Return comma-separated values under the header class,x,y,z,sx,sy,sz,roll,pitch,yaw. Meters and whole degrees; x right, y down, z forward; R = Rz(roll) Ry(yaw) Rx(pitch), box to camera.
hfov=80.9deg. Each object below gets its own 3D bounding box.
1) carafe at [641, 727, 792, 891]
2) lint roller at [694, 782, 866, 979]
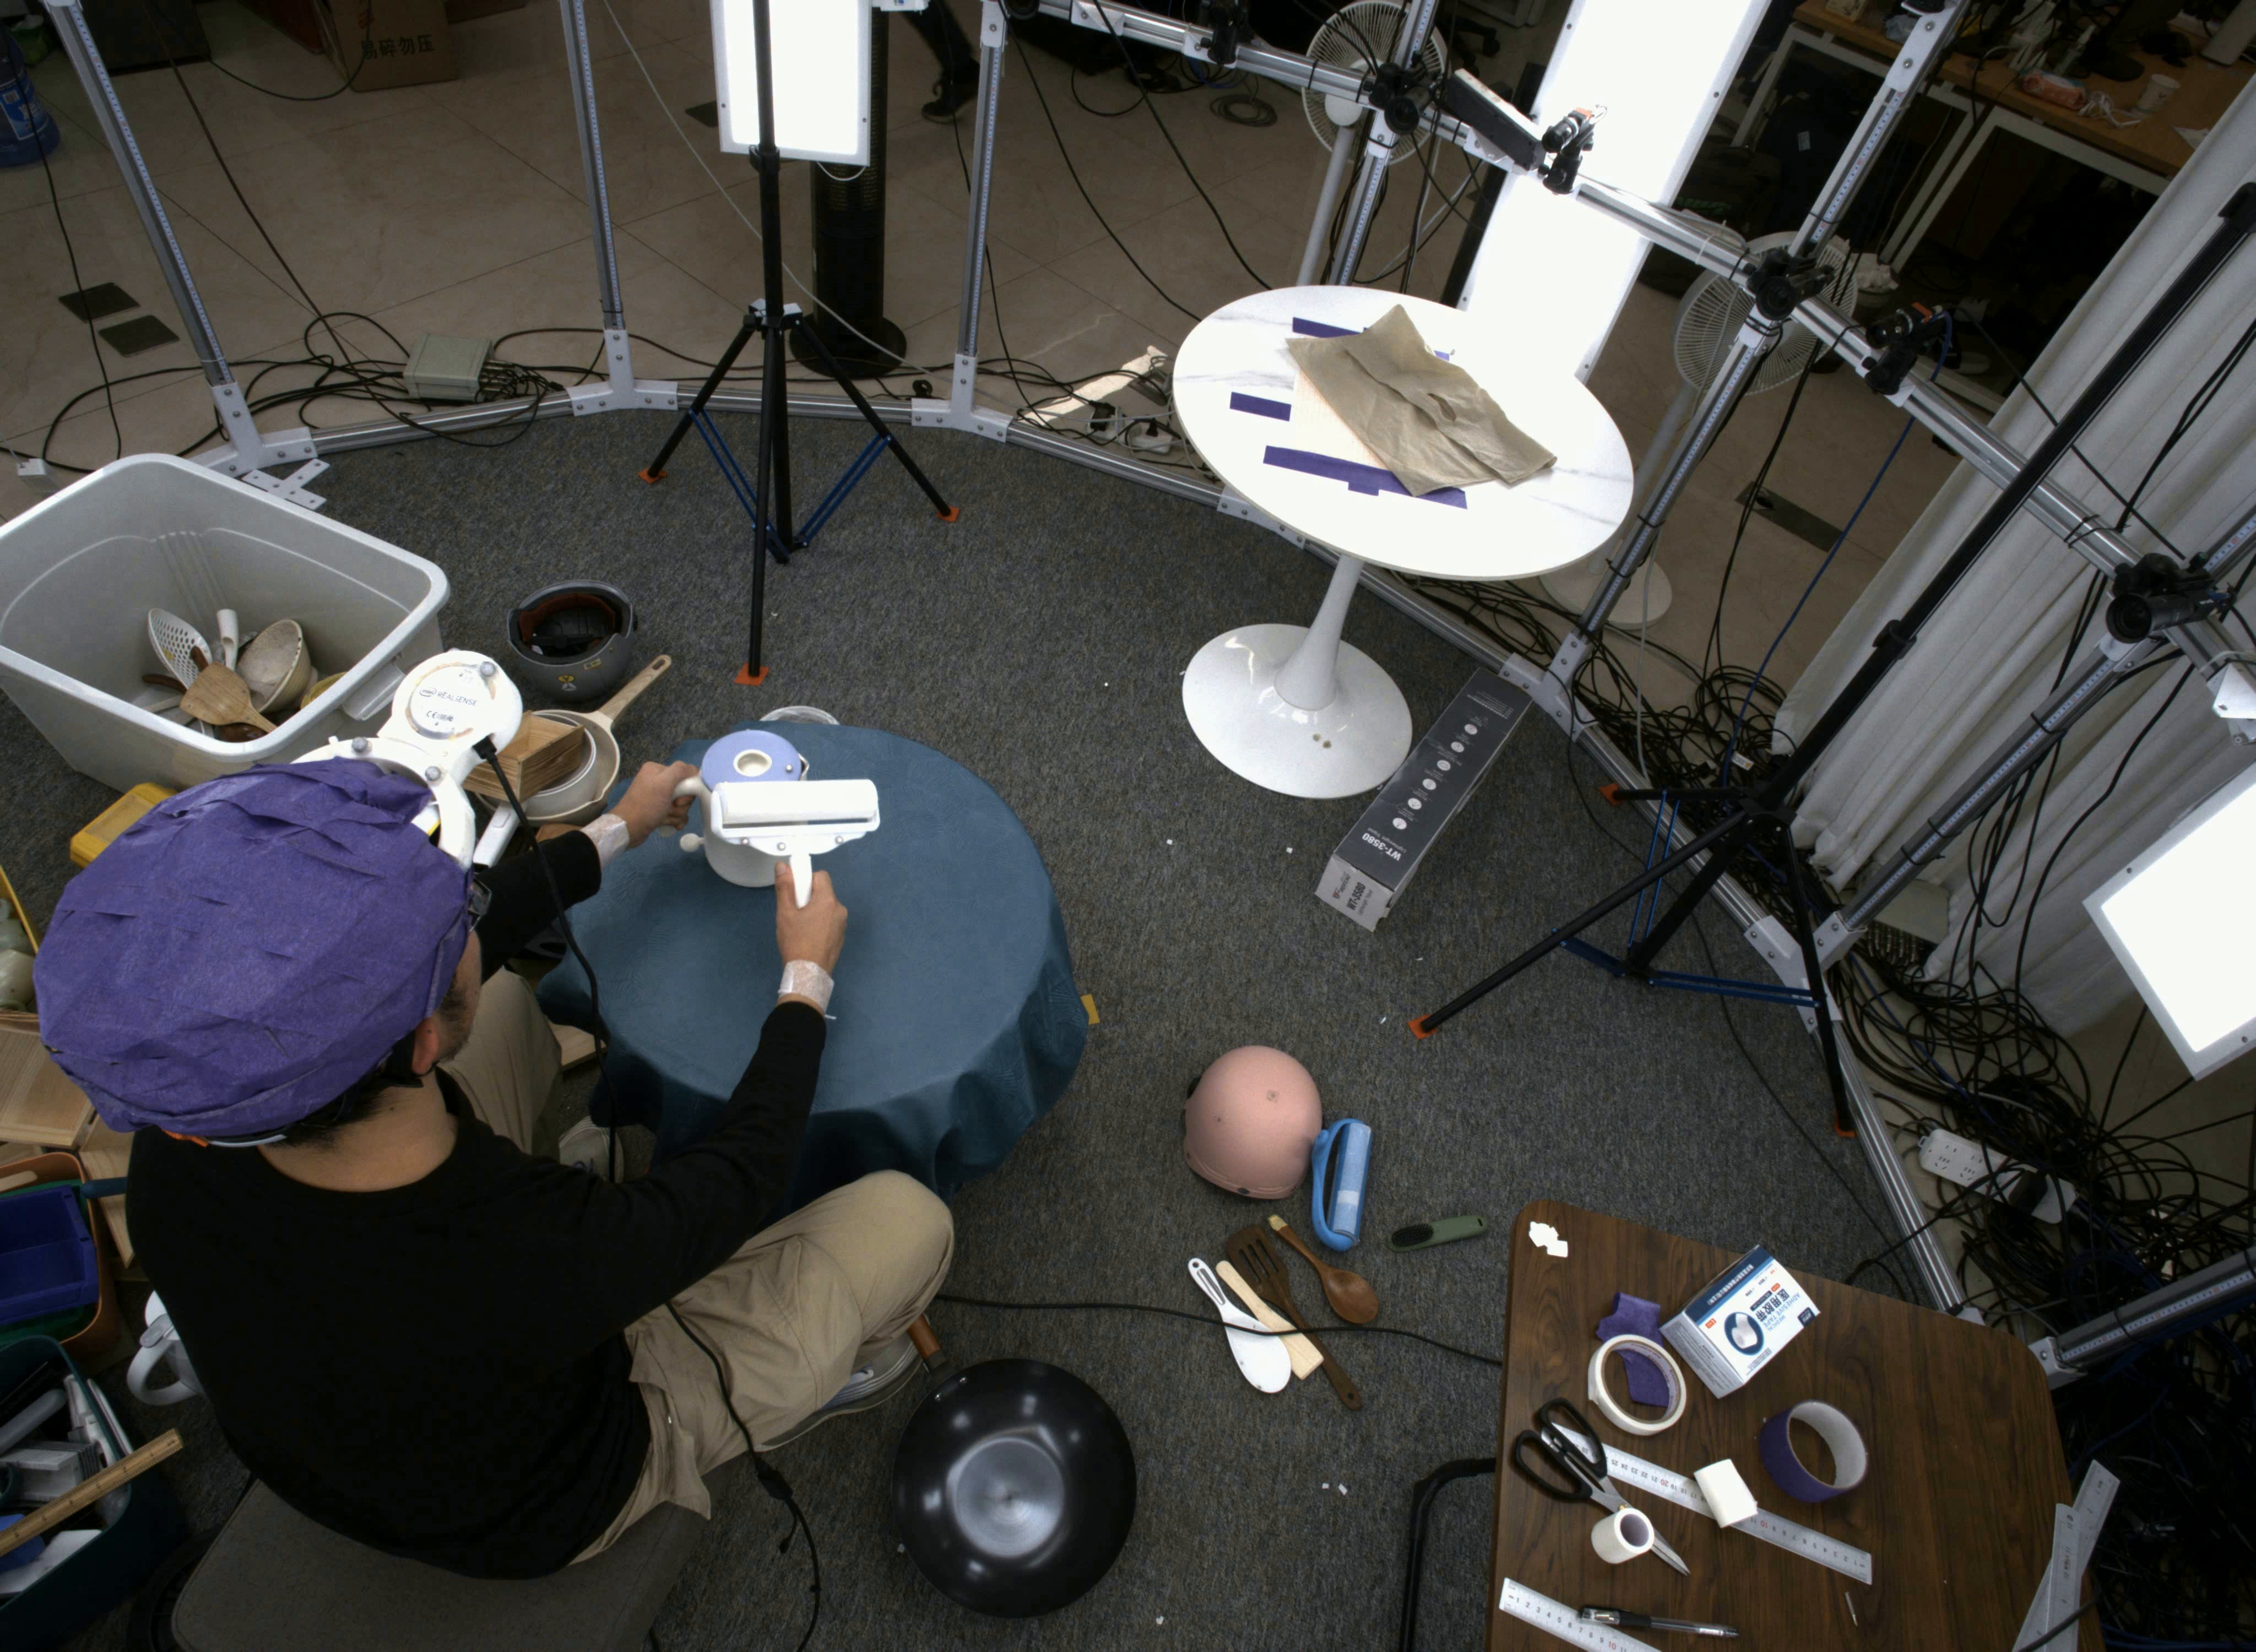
class,x,y,z,sx,sy,sz,roll,pitch,yaw
carafe,-0.506,-0.018,1.599,0.191,0.187,0.129,-10,55,-18
lint roller,-0.391,0.061,1.499,0.206,0.047,0.228,-5,87,-42
